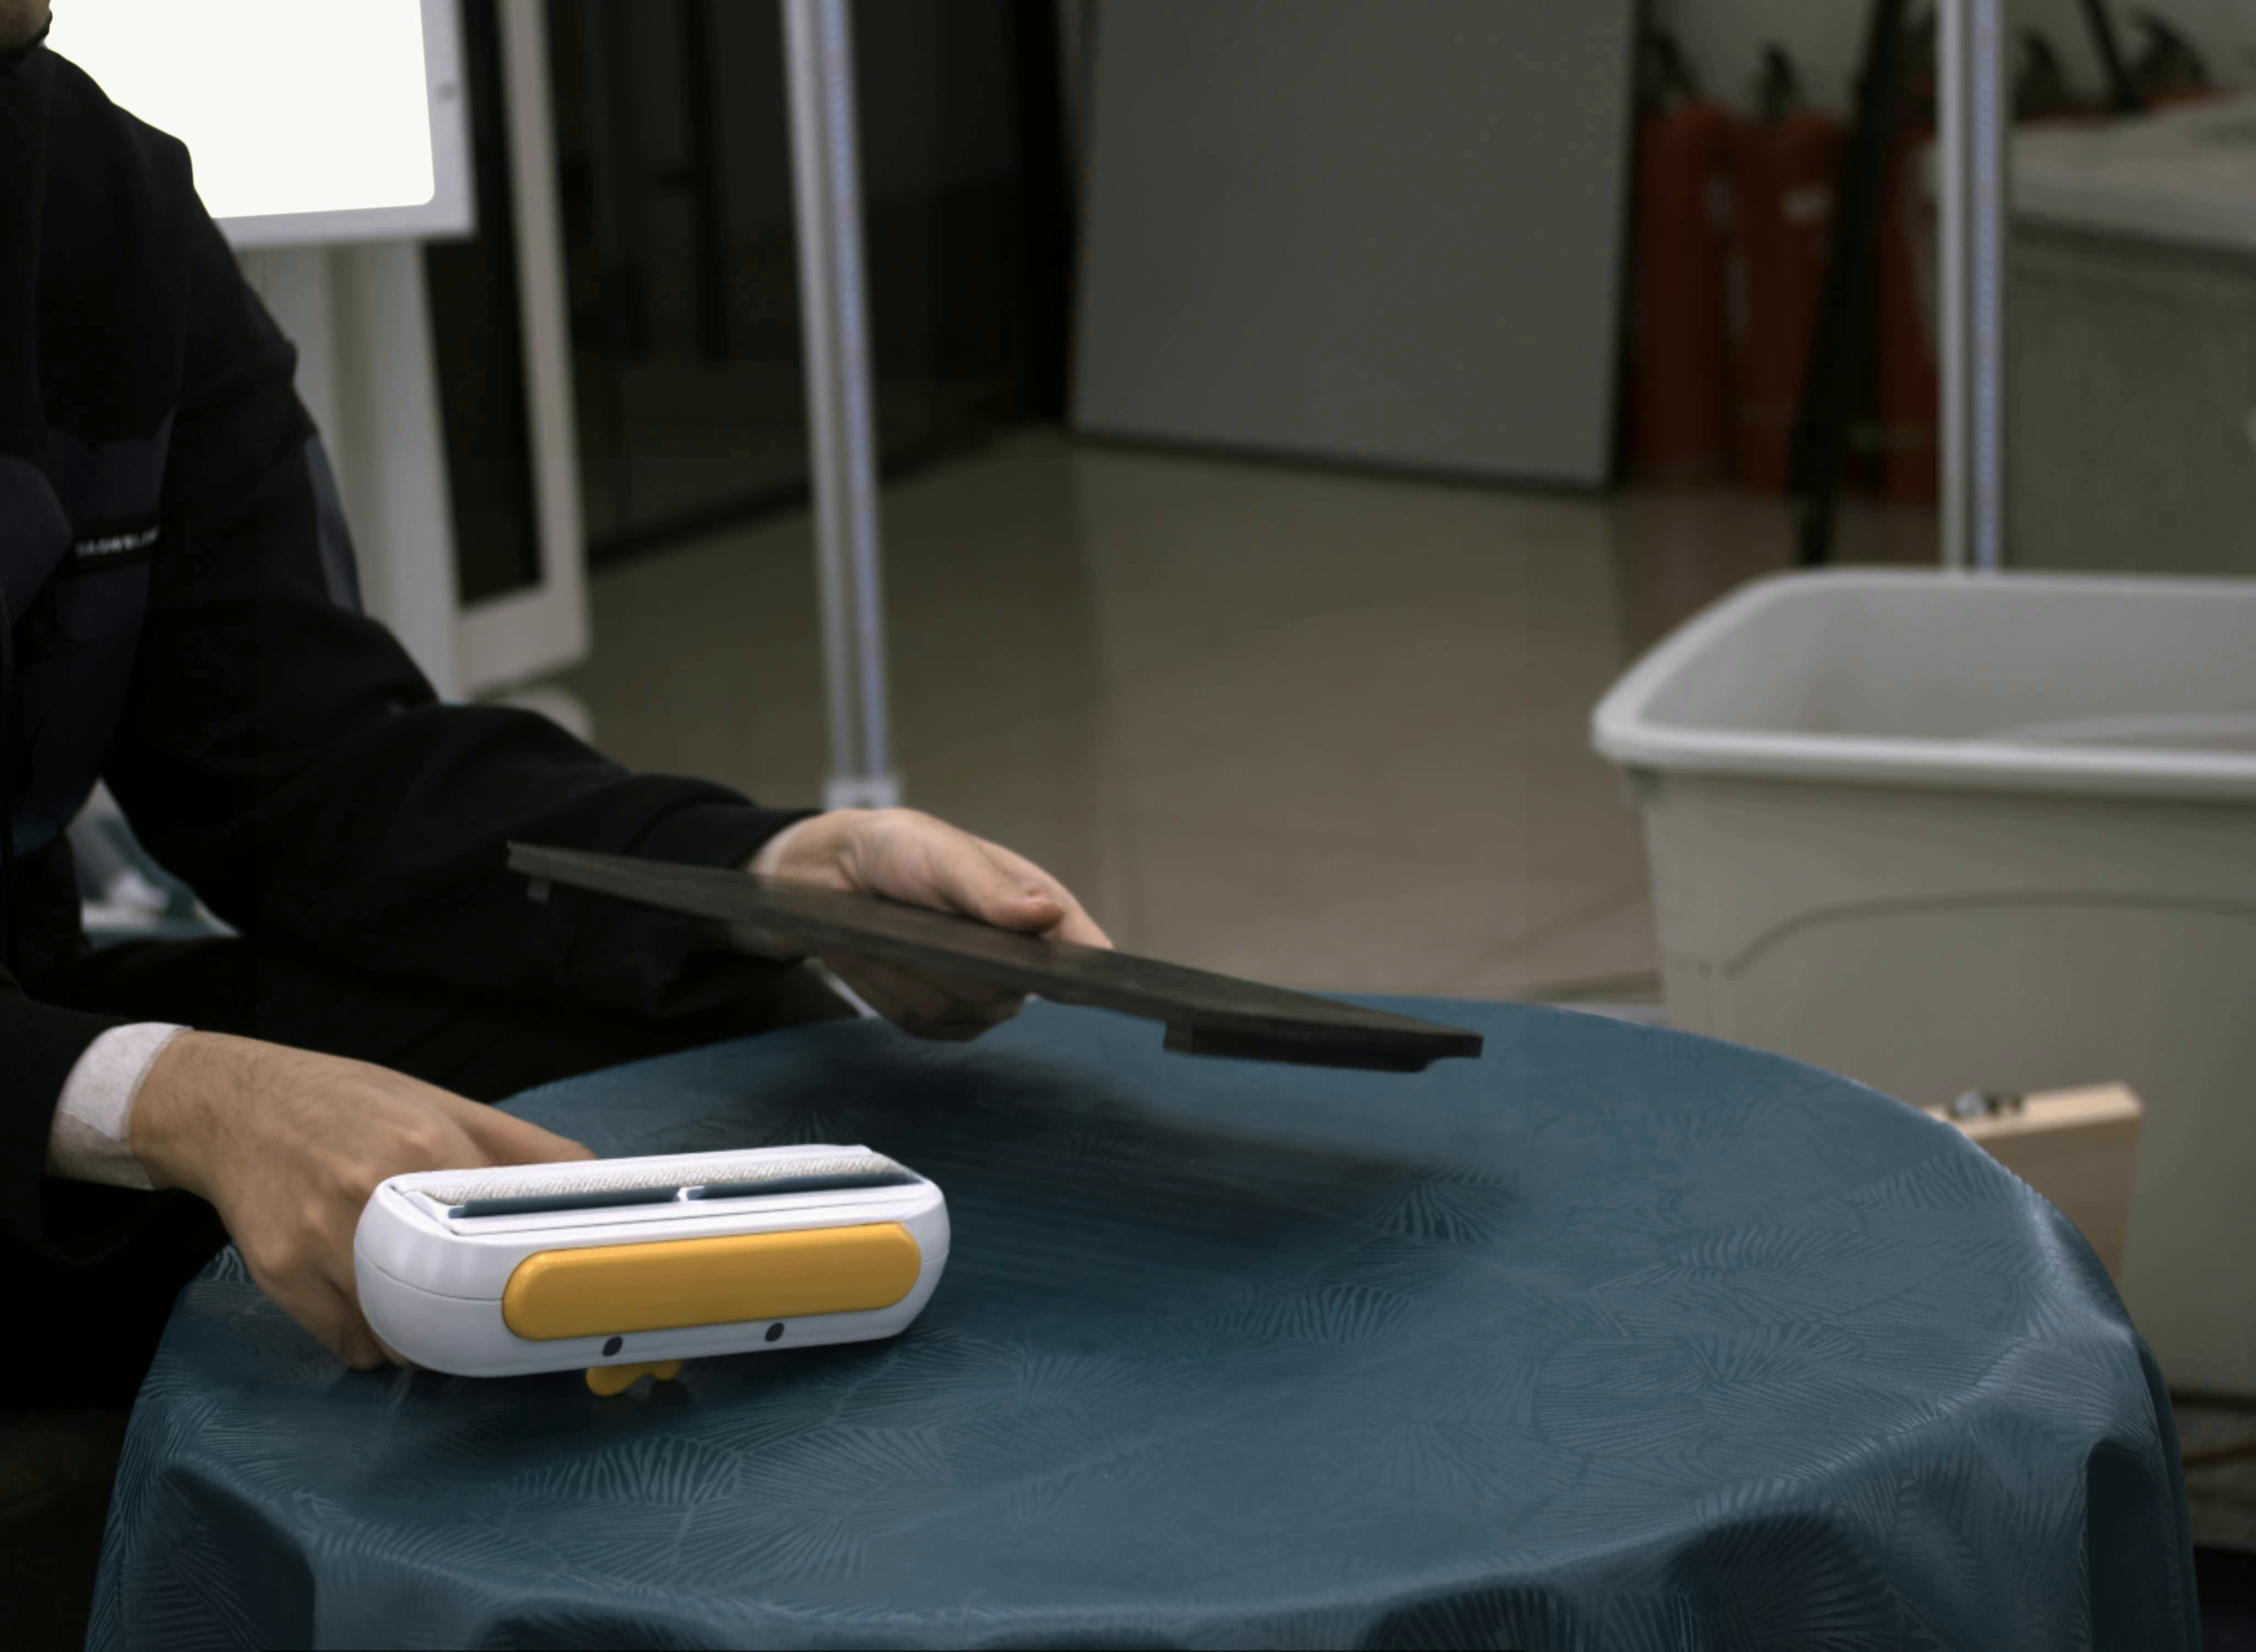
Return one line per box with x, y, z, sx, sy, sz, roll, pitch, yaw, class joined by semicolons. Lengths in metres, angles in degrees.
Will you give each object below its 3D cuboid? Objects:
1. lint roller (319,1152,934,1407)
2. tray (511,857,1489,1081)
-0.177;0.128;1.655;0.188;0.075;0.194;-6;11;-32;lint roller
-0.045;0.048;1.793;0.308;0.019;0.167;11;2;36;tray
